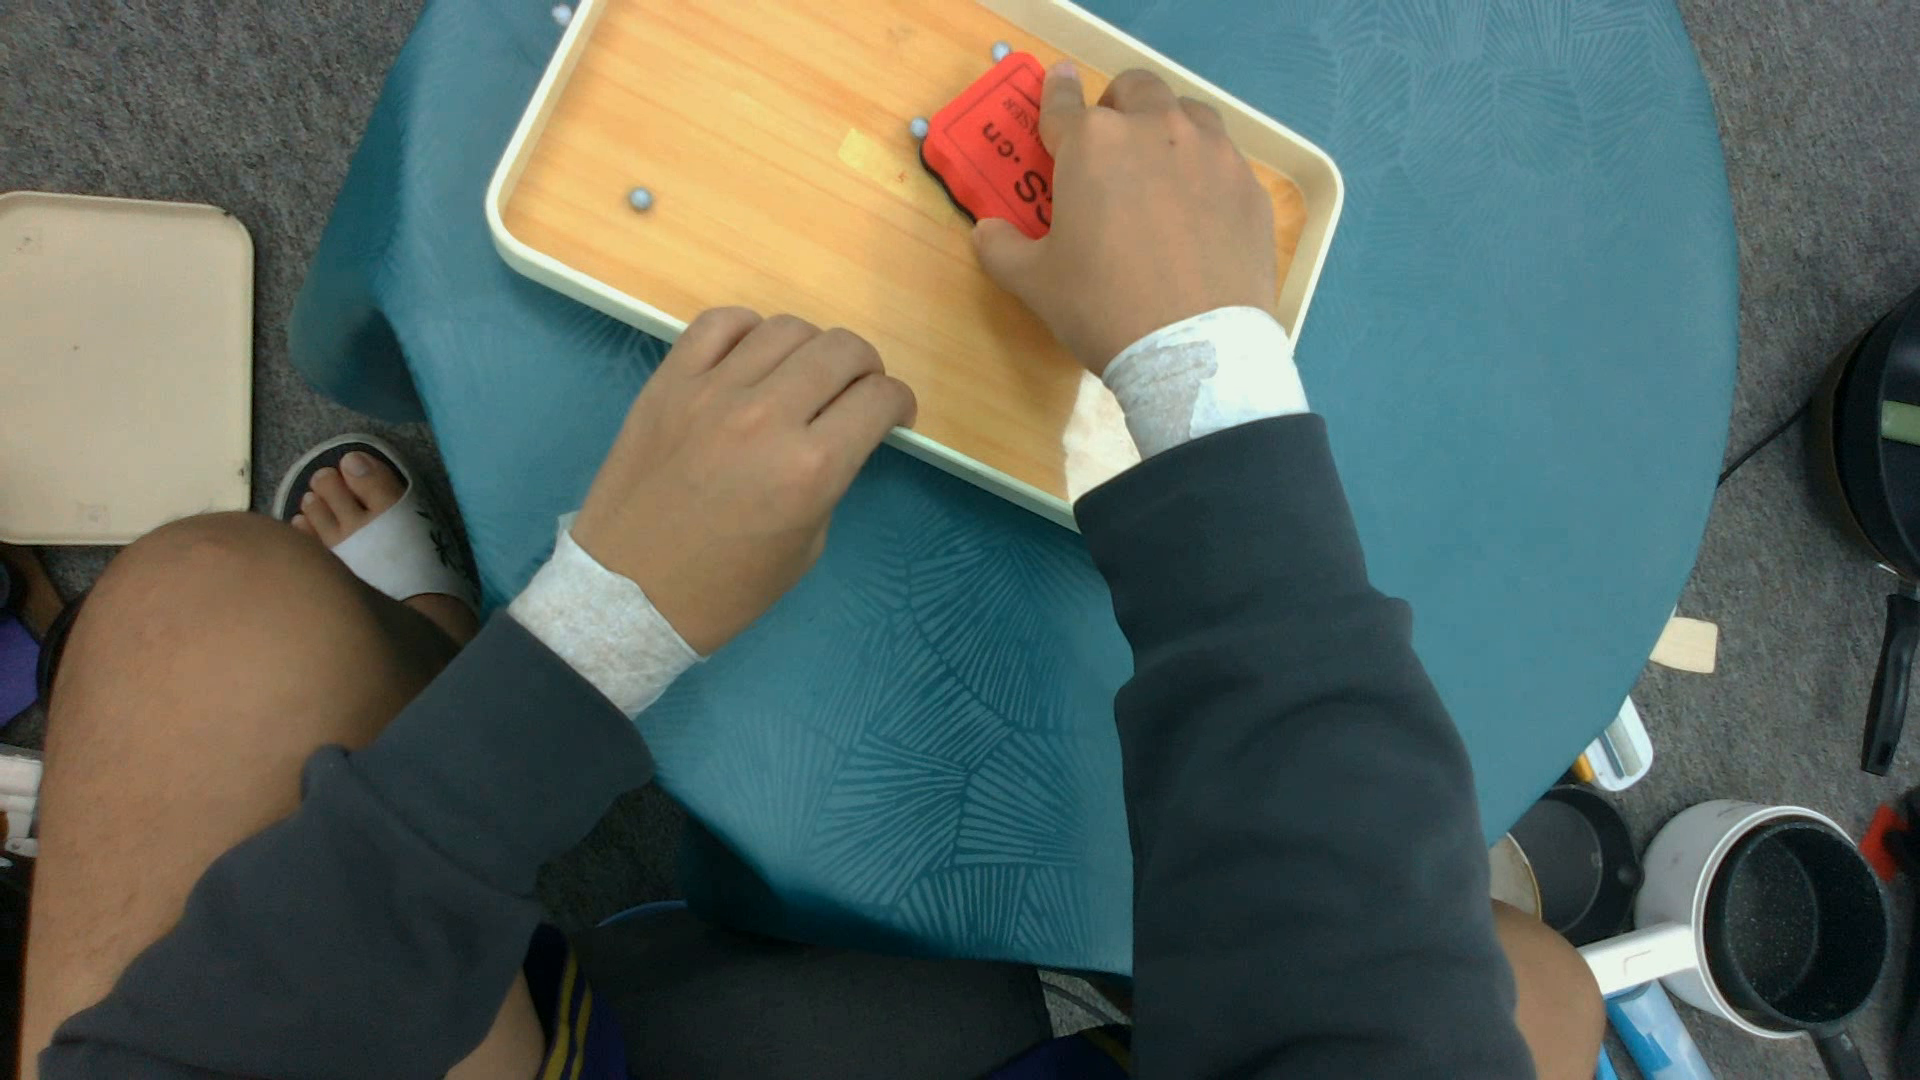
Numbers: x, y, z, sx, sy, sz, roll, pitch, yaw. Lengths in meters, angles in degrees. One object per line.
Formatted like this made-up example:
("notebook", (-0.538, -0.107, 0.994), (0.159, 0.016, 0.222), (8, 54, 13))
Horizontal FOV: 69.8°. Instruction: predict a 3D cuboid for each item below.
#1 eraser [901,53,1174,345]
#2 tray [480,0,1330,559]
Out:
("eraser", (0.031, -0.134, 0.540), (0.059, 0.023, 0.108), (-44, 95, -21))
("tray", (-0.007, -0.132, 0.534), (0.300, 0.027, 0.192), (24, 76, -14))
